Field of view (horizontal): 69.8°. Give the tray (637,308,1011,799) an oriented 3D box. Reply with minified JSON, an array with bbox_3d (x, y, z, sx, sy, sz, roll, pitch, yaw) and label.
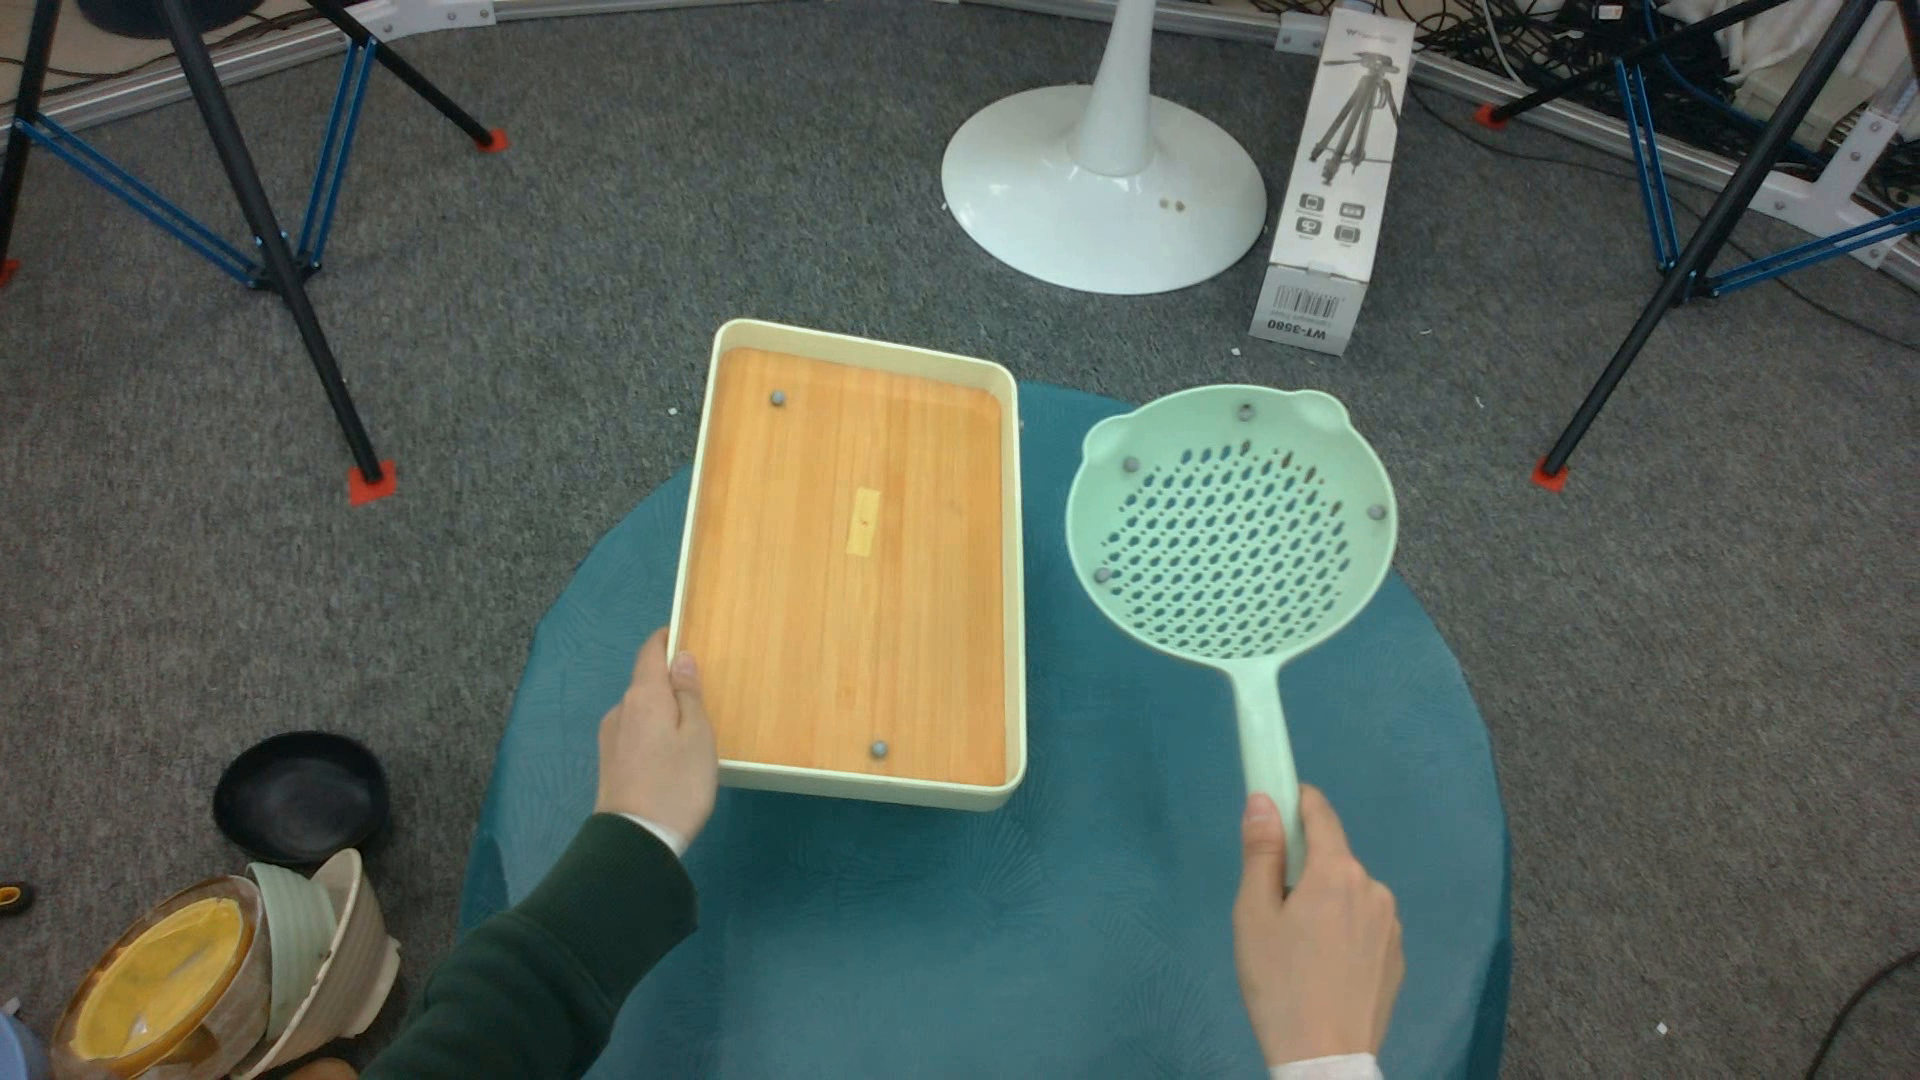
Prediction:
[{"bbox_3d":[-0.068,-0.003,0.780,0.192,0.027,0.301,9,53,-11],"label":"tray"}]

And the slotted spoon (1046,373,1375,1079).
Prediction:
[{"bbox_3d":[0.136,0.070,0.678,0.169,0.075,0.360,-7,51,6],"label":"slotted spoon"}]
